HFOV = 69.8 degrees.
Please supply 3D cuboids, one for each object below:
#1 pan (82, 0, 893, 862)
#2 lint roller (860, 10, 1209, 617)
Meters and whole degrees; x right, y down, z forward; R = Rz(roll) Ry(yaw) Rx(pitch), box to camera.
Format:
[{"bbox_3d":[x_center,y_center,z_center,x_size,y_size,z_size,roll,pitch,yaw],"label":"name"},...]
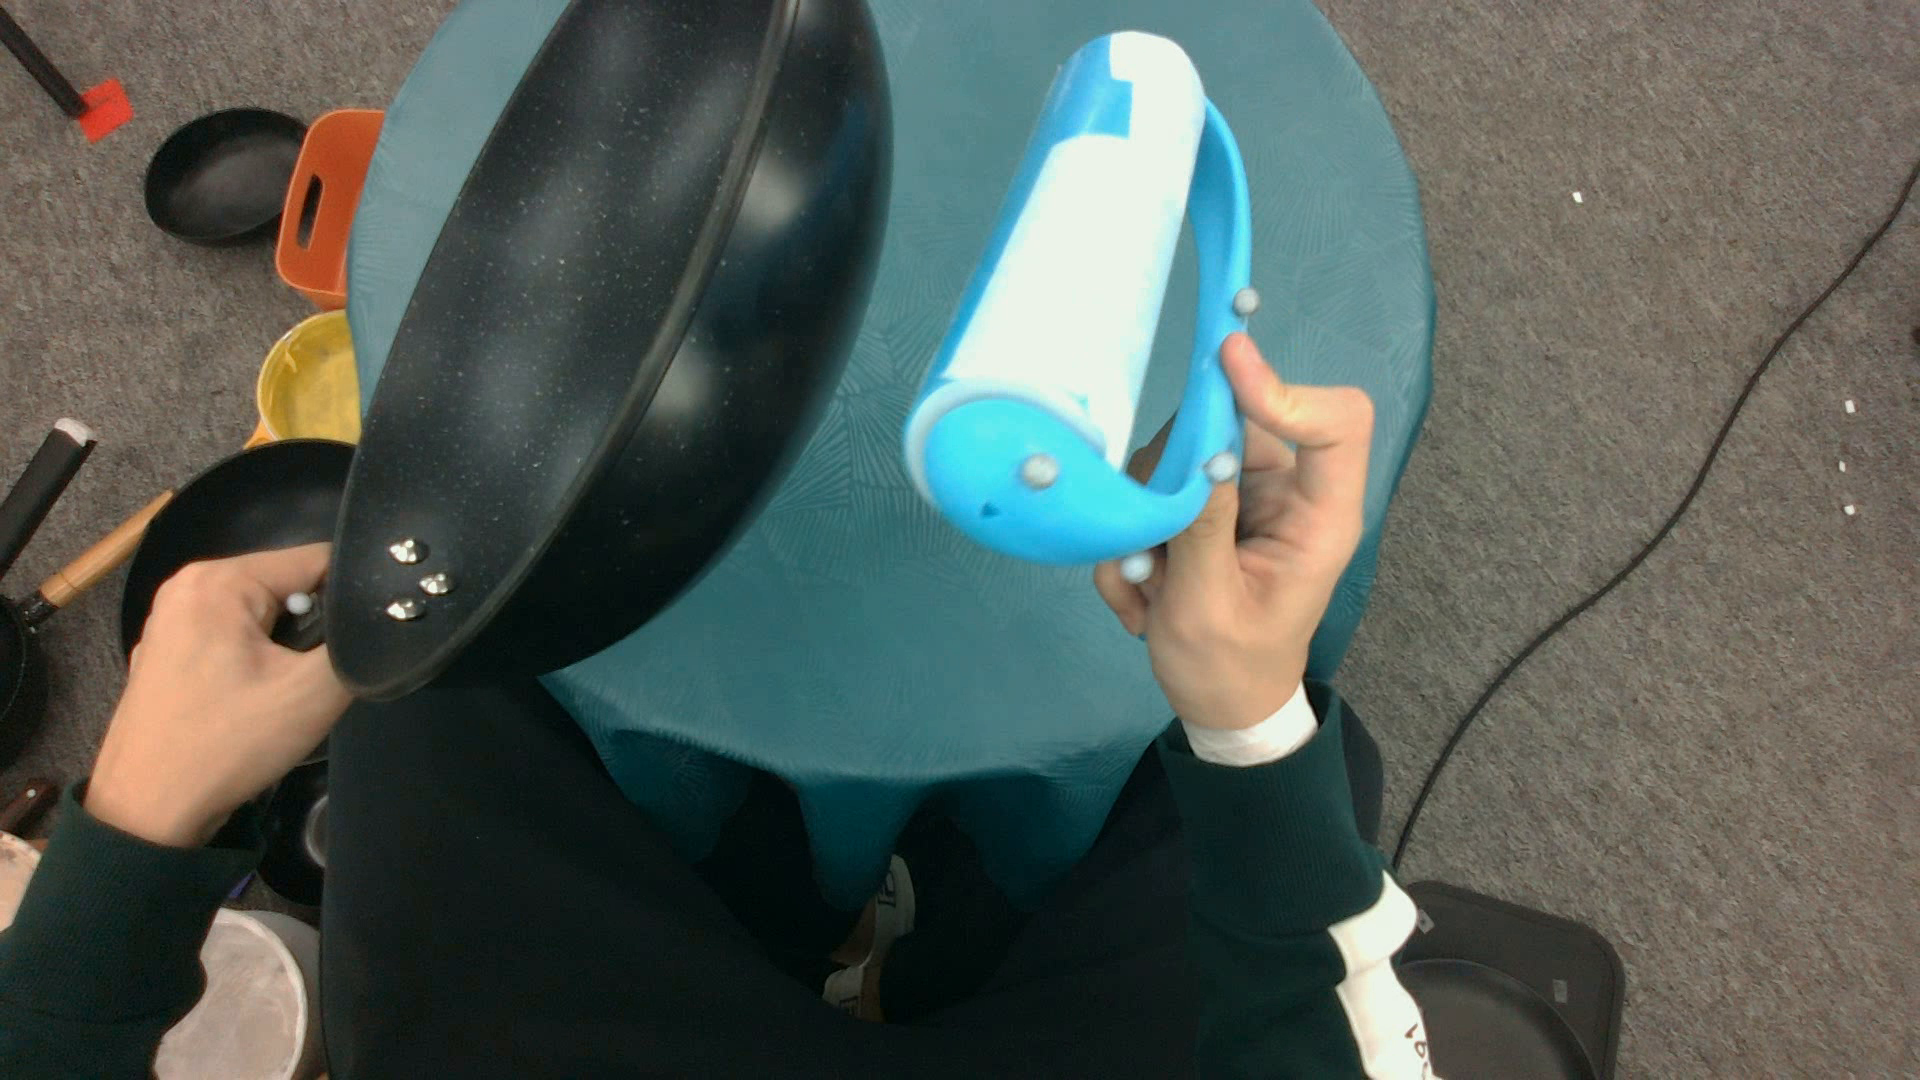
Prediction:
[{"bbox_3d":[-0.173,-0.031,0.509,0.475,0.111,0.311,-51,36,19],"label":"pan"},{"bbox_3d":[0.047,-0.046,0.433,0.068,0.180,0.230,-11,42,25],"label":"lint roller"}]
